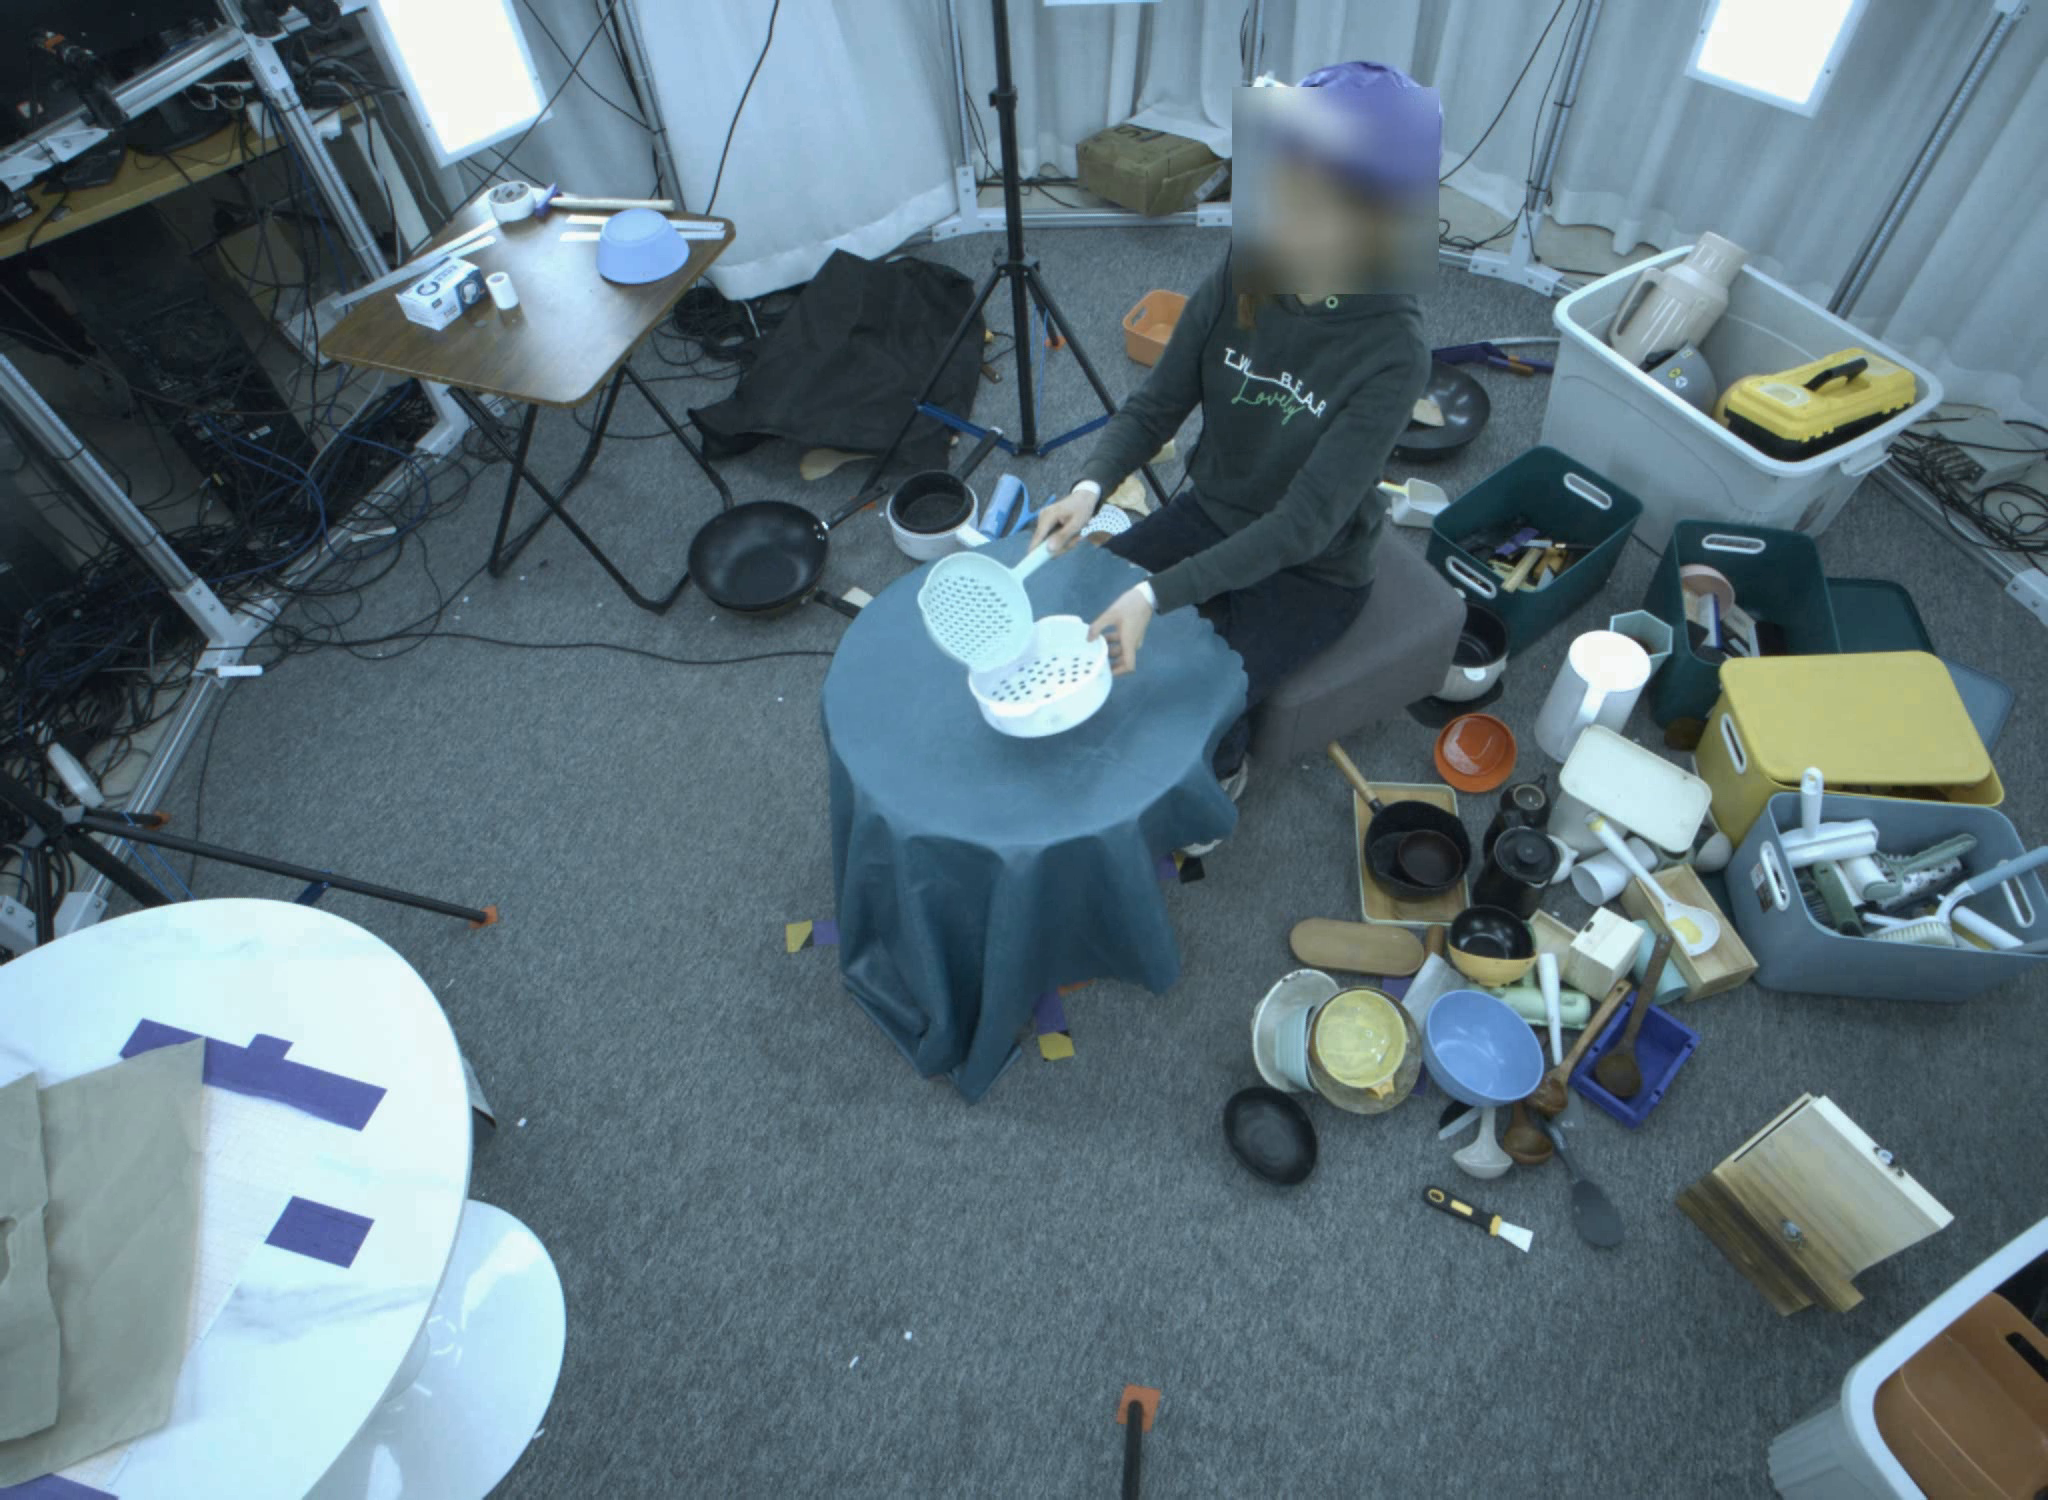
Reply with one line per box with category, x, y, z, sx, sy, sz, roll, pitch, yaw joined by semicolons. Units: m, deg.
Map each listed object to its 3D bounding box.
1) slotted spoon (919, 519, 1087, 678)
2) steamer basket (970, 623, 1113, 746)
slotted spoon;-0.010;-0.241;1.749;0.361;0.074;0.171;-45;102;-27
steamer basket;0.027;-0.091;1.749;0.199;0.070;0.230;3;43;22
